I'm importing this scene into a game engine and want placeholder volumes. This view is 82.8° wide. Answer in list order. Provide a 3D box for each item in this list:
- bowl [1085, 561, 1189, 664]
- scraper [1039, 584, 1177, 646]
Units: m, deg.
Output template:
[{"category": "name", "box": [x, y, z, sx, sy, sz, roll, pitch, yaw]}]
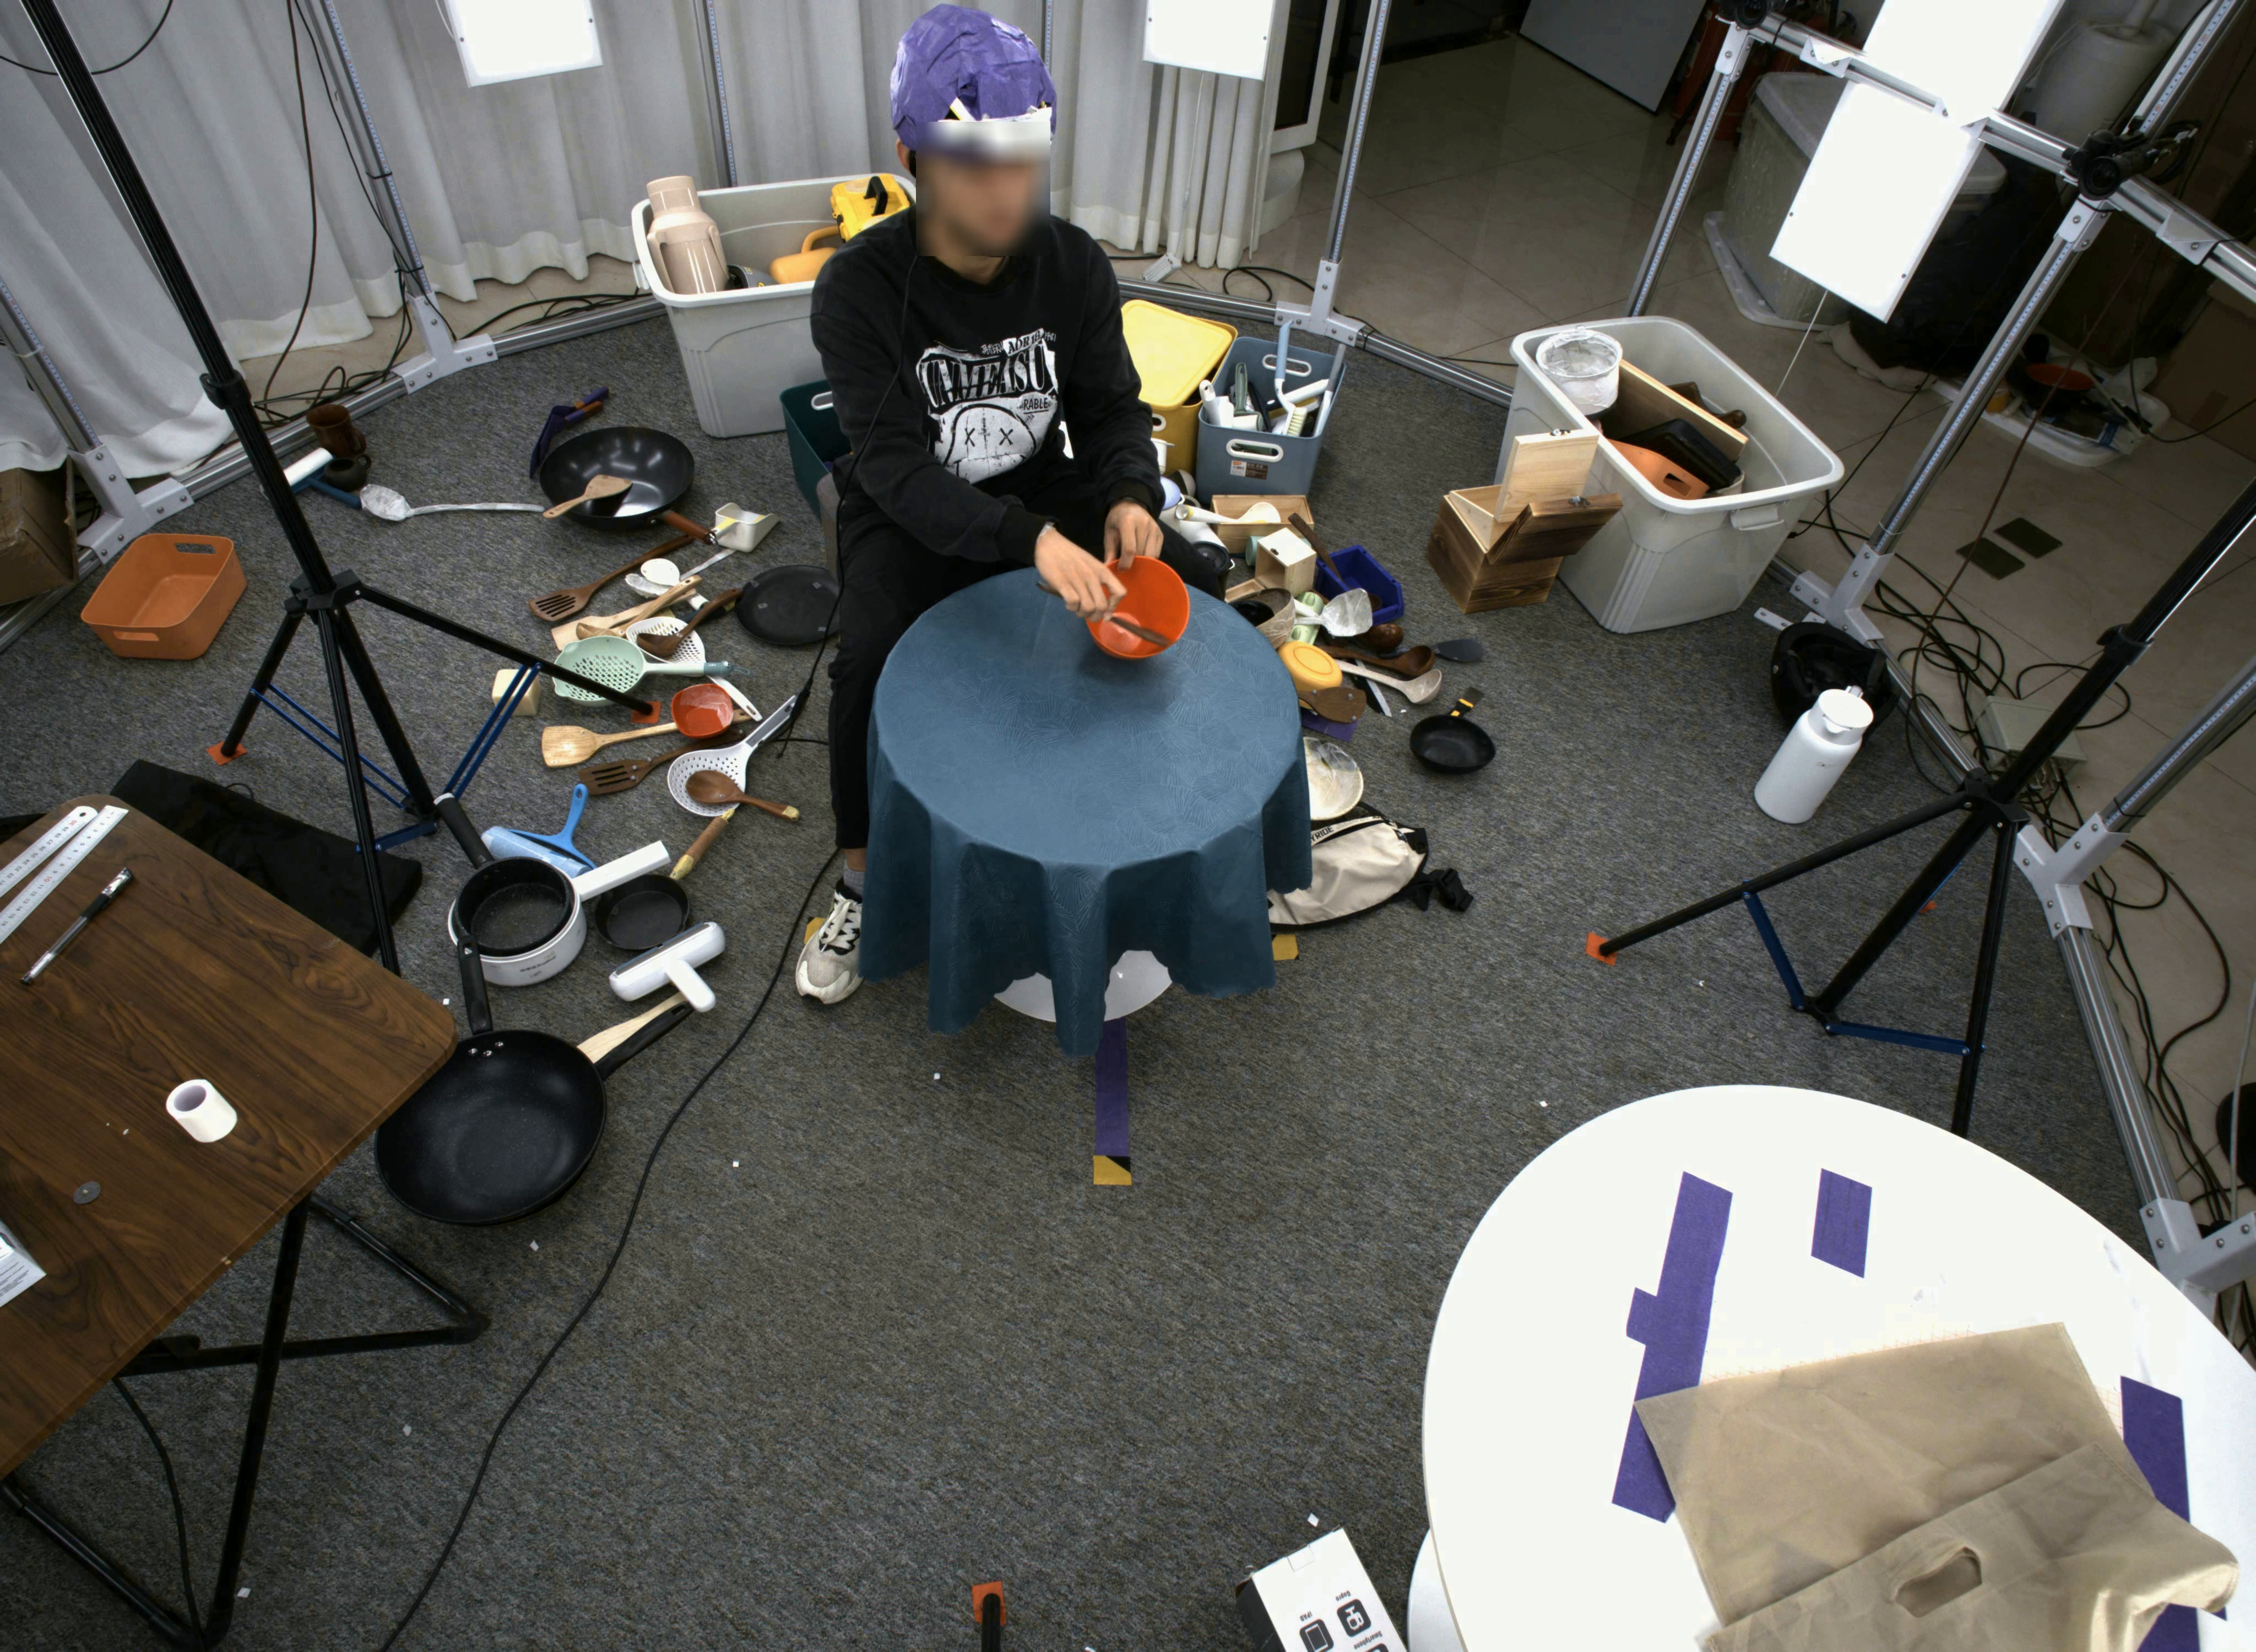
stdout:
[{"category": "bowl", "box": [0.007, -0.297, 1.867, 0.147, 0.103, 0.150, 3, 74, -9]}, {"category": "scraper", "box": [-0.029, -0.294, 1.788, 0.209, 0.011, 0.077, 19, 15, -26]}]
